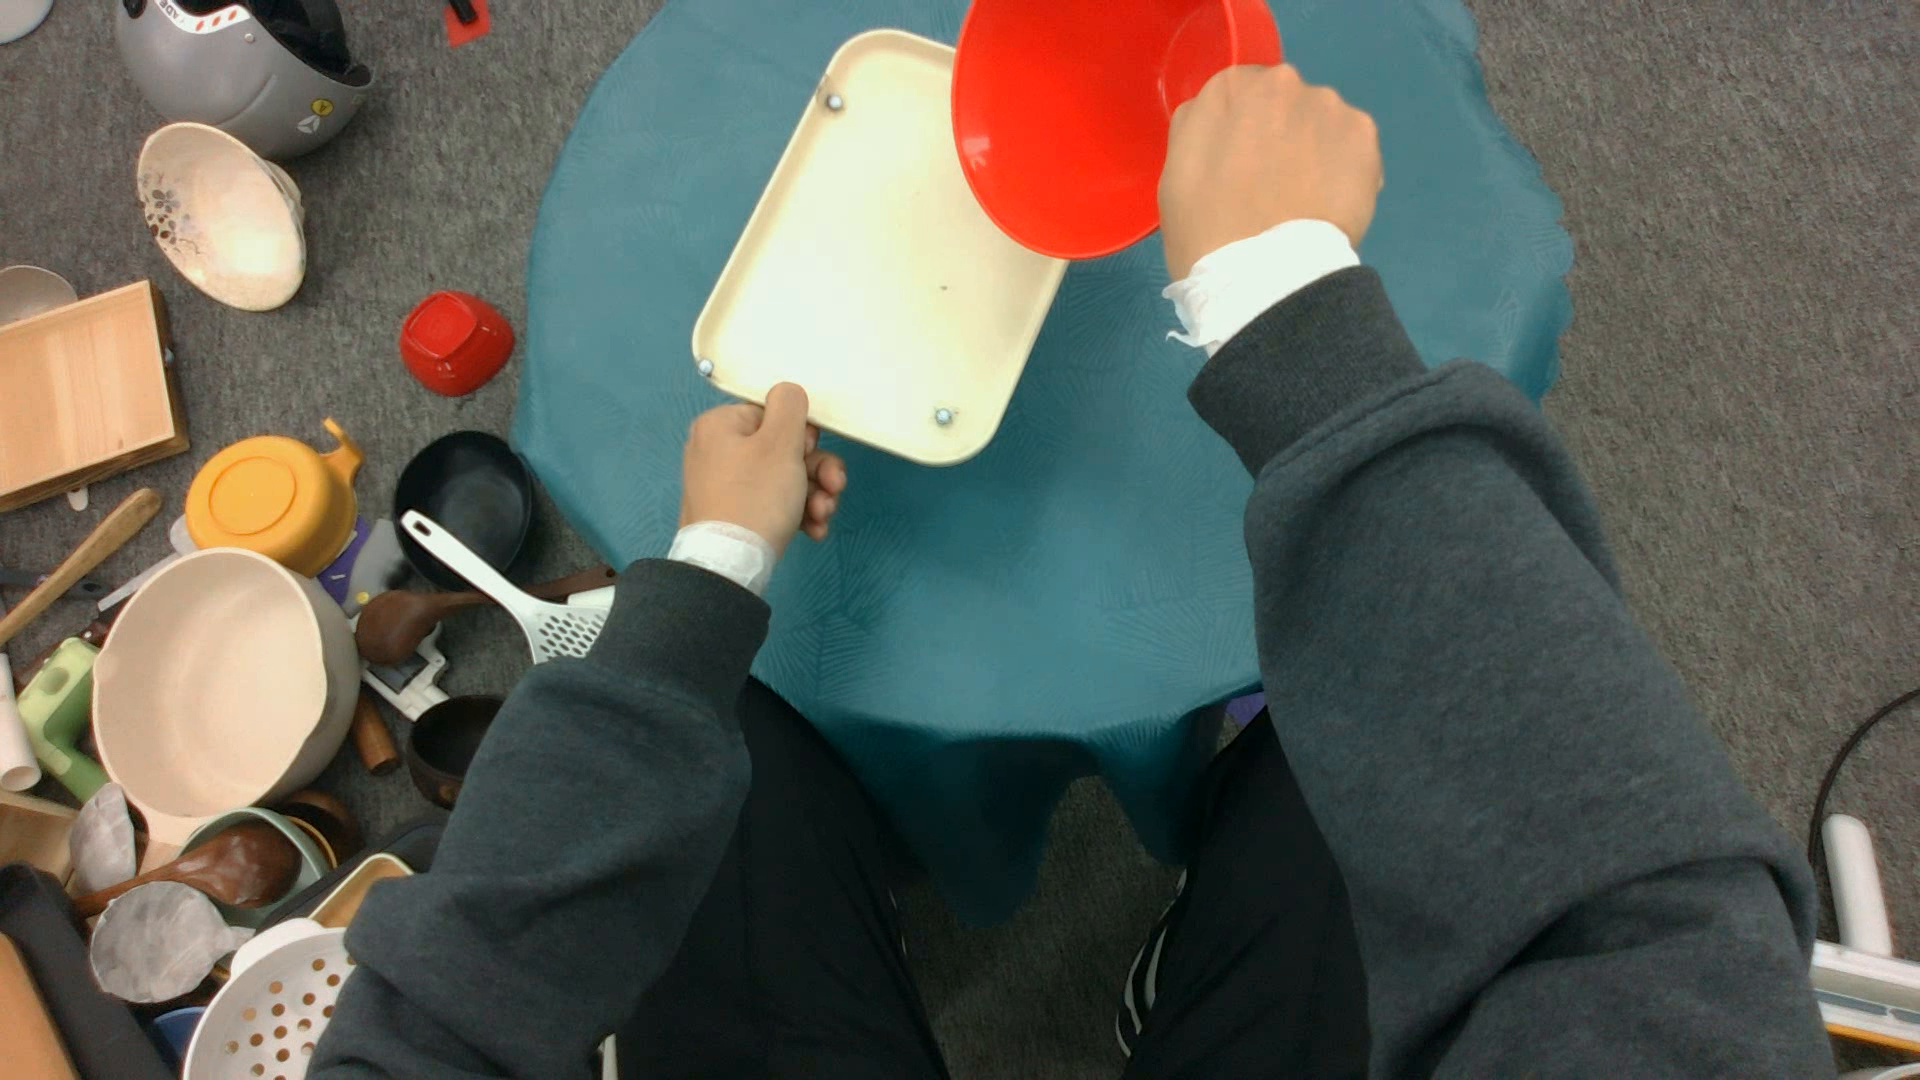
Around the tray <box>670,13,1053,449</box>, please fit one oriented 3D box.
[{"bbox_3d":[-0.038,-0.170,0.741,0.171,0.017,0.240,20,72,7],"label":"tray"}]

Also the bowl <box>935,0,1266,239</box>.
[{"bbox_3d":[0.075,-0.218,0.638,0.105,0.147,0.148,-15,66,-40],"label":"bowl"}]
